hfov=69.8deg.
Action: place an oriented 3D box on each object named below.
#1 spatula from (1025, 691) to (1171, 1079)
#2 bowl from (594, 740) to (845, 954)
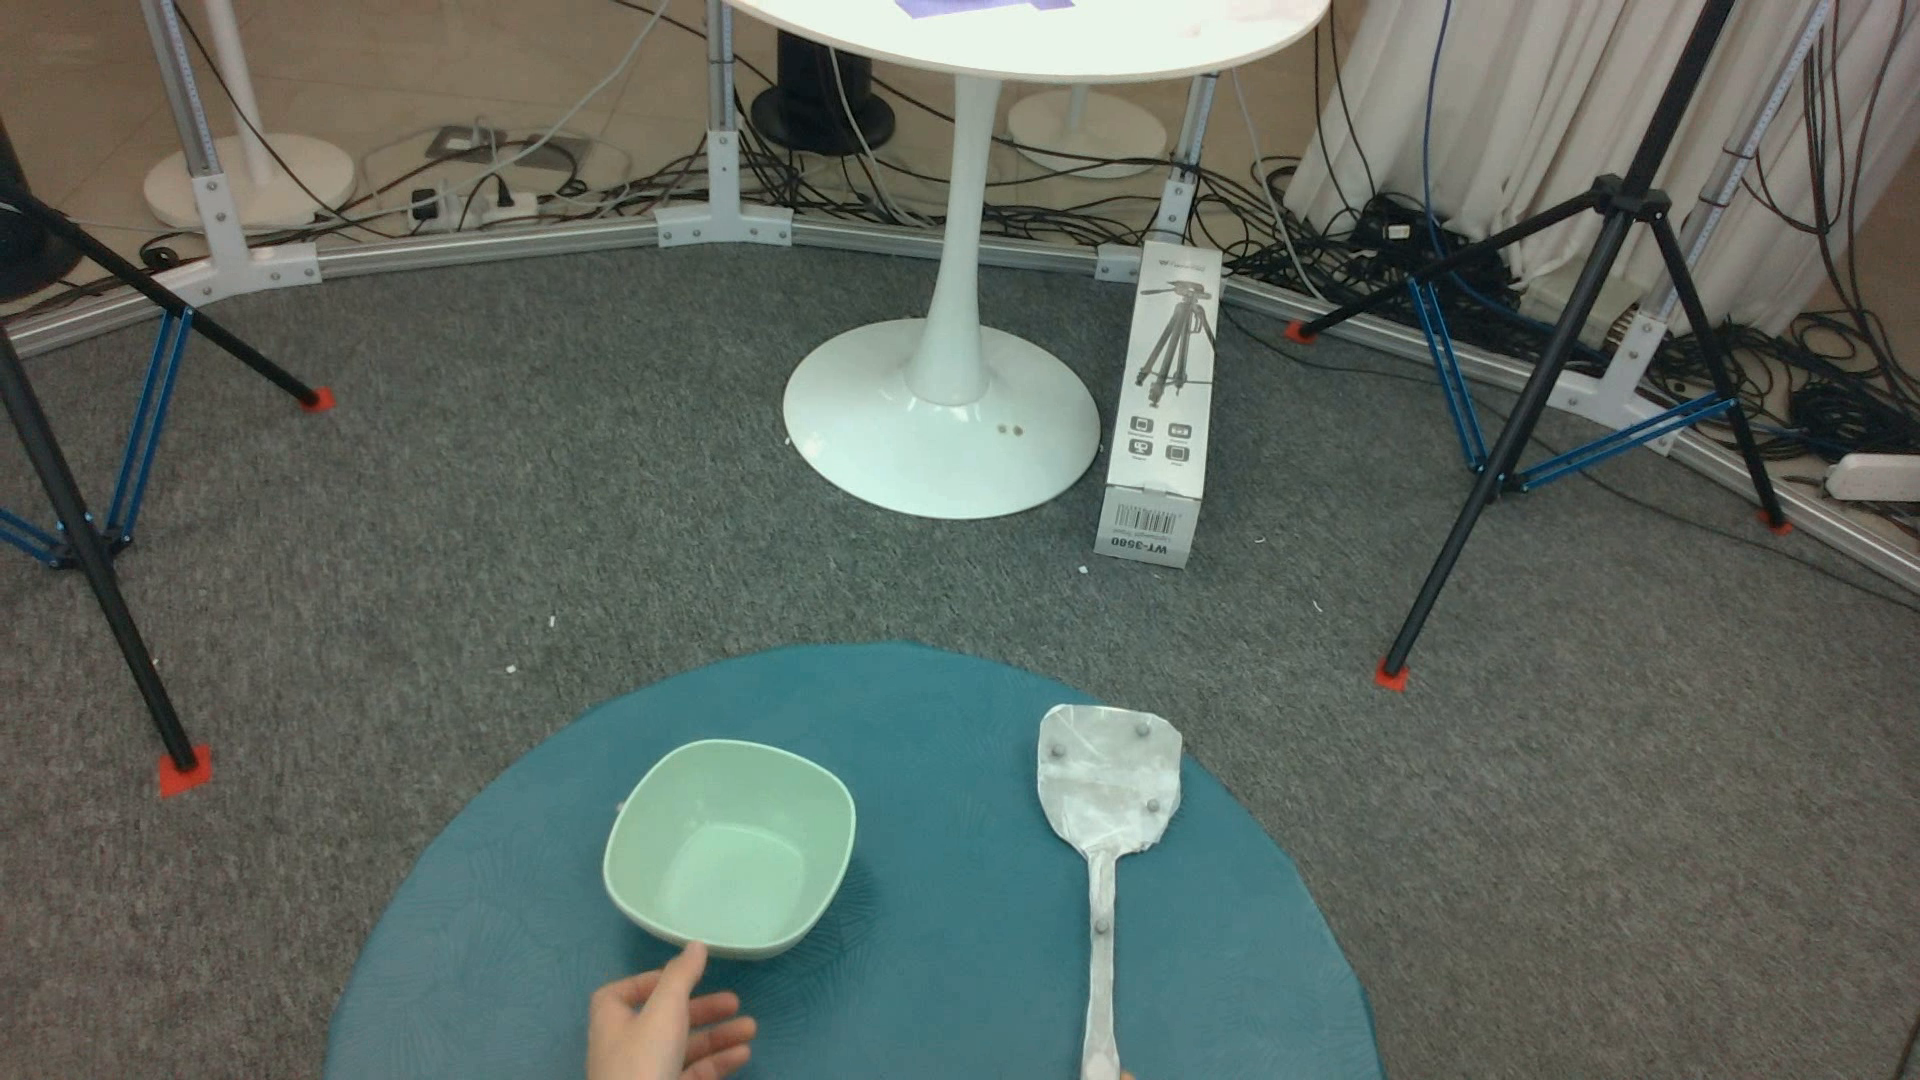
[{"bbox_3d":[0.076,0.244,0.824,0.099,0.044,0.367,10,43,-1],"label":"spatula"},{"bbox_3d":[-0.142,0.194,0.829,0.151,0.058,0.152,3,42,-3],"label":"bowl"}]
